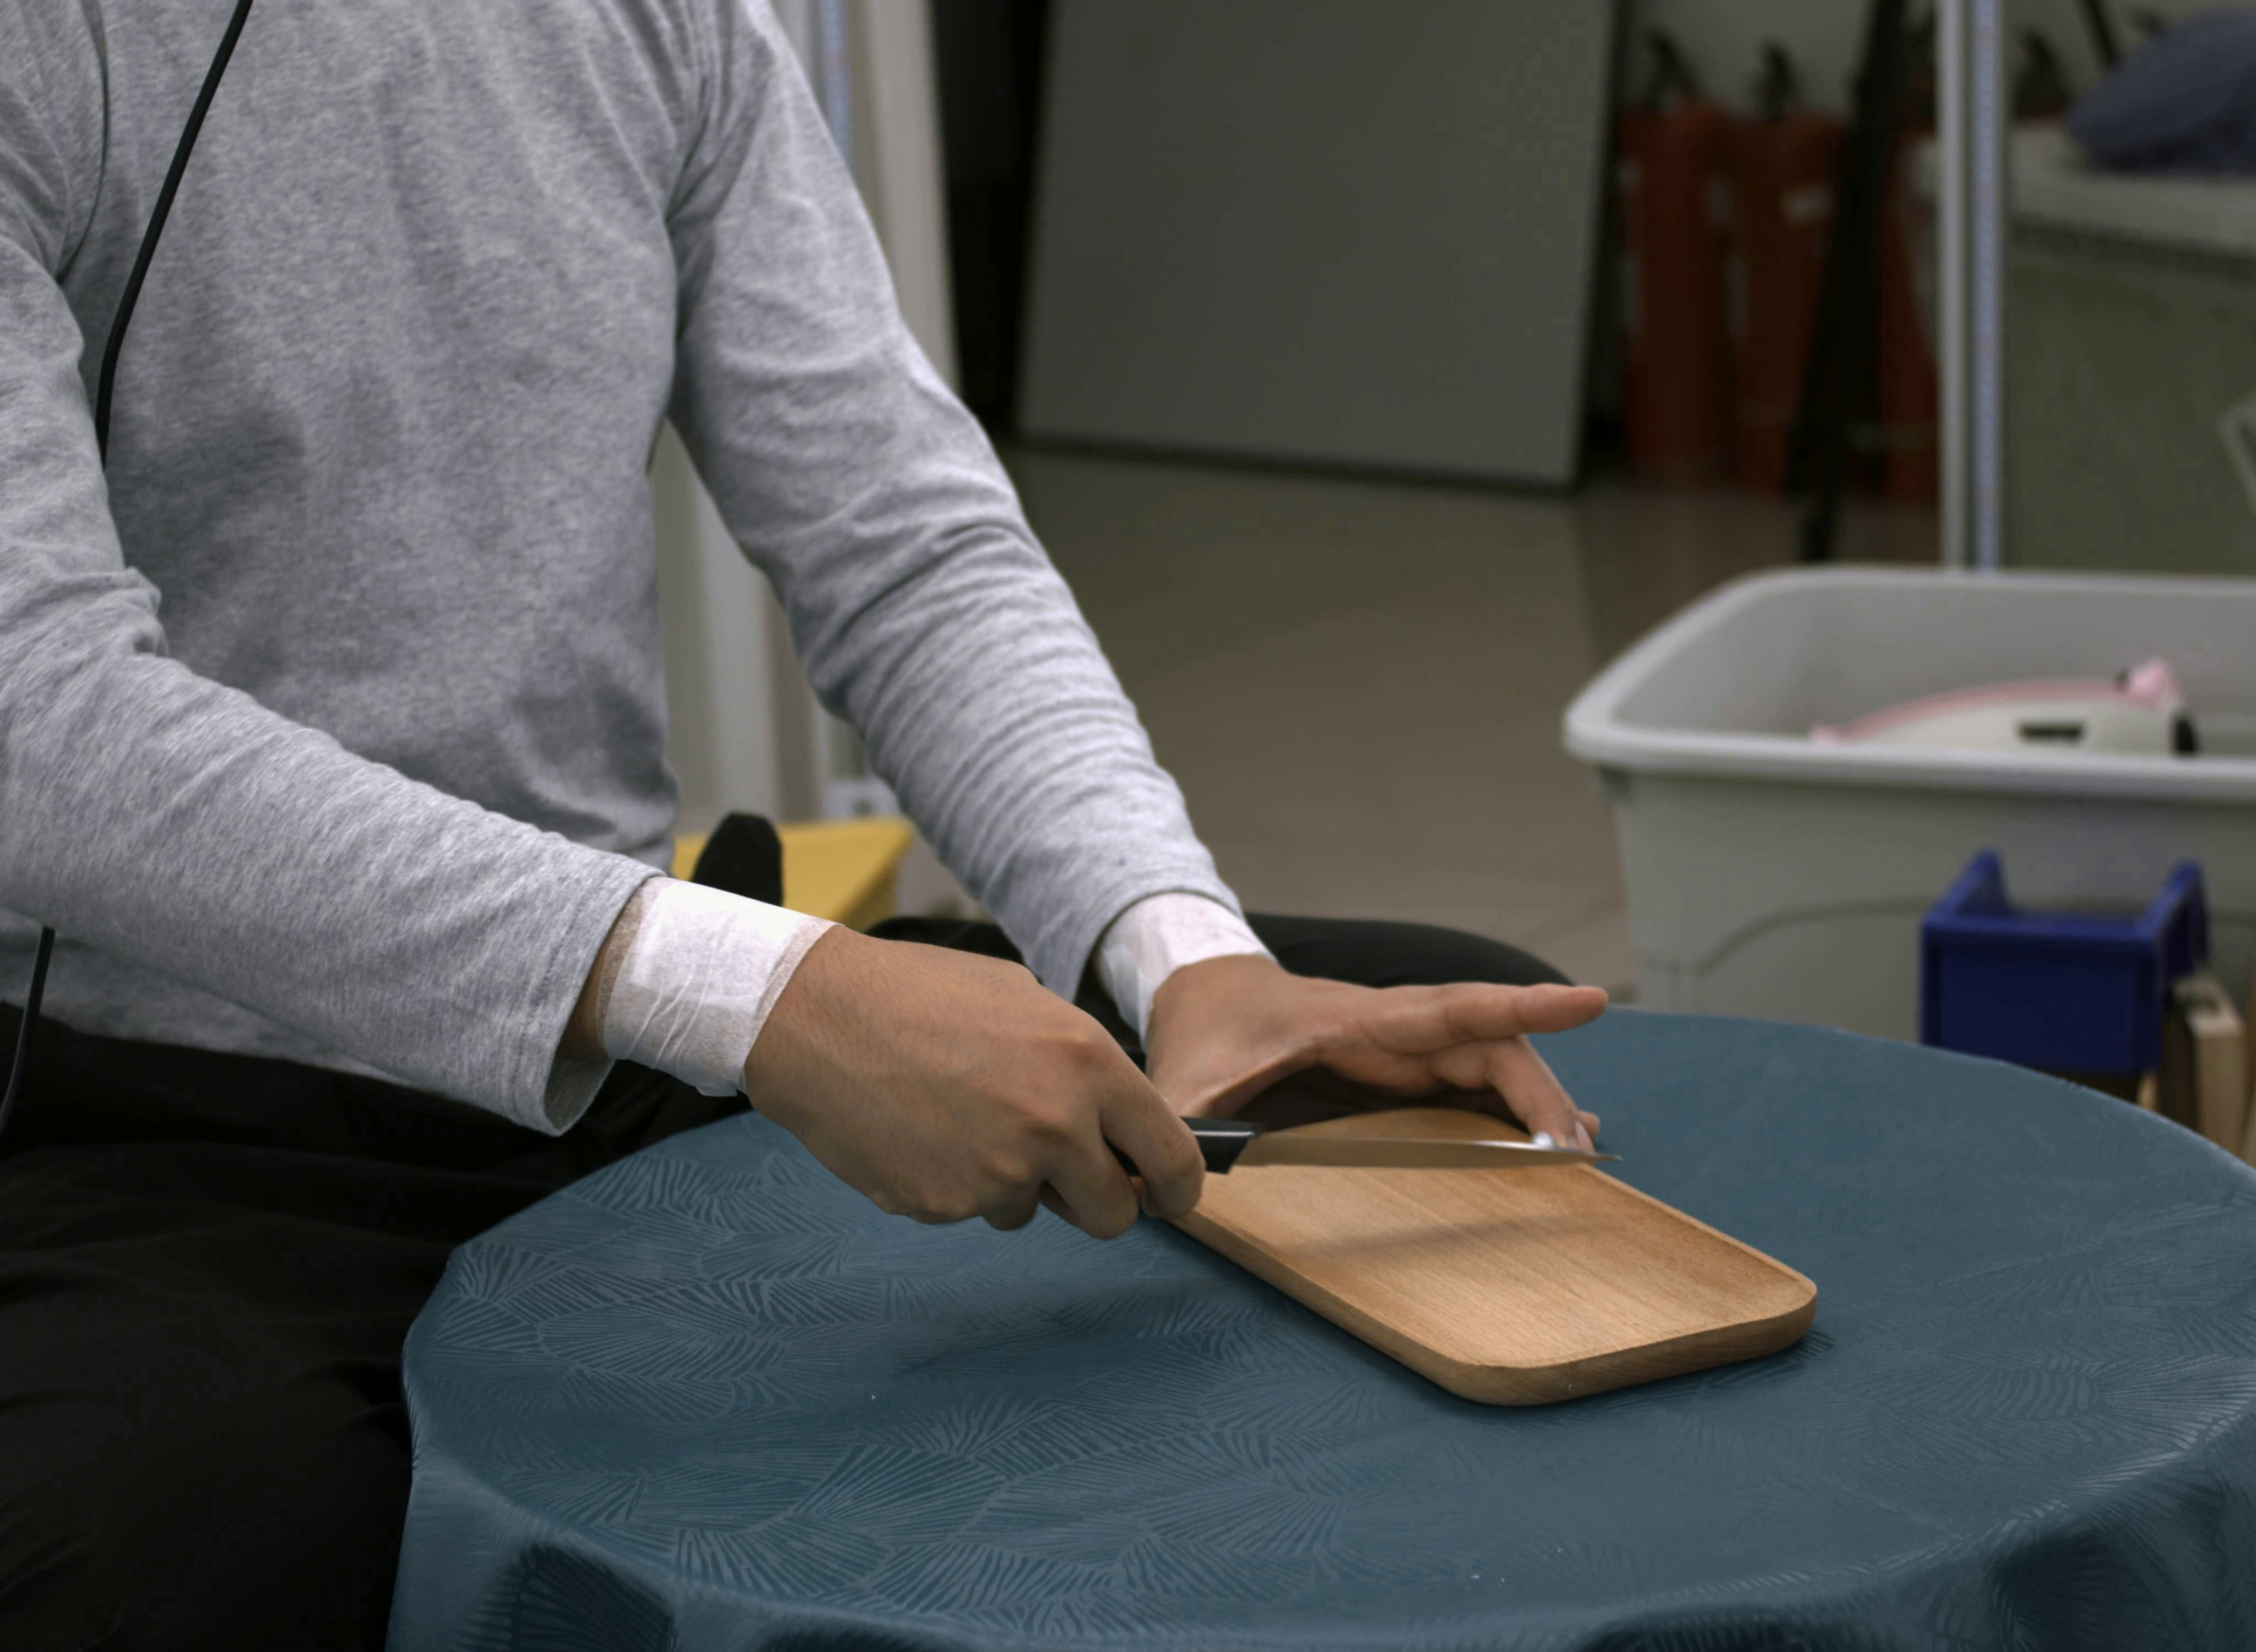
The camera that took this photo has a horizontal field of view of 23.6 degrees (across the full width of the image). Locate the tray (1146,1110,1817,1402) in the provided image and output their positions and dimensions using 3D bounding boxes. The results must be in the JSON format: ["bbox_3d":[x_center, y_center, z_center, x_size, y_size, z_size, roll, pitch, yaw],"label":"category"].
[{"bbox_3d":[0.105,0.131,1.670,0.128,0.023,0.253,-7,12,-22],"label":"tray"}]

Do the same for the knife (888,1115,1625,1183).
[{"bbox_3d":[0.043,0.102,1.663,0.233,0.016,0.024,3,-27,-12],"label":"knife"}]
